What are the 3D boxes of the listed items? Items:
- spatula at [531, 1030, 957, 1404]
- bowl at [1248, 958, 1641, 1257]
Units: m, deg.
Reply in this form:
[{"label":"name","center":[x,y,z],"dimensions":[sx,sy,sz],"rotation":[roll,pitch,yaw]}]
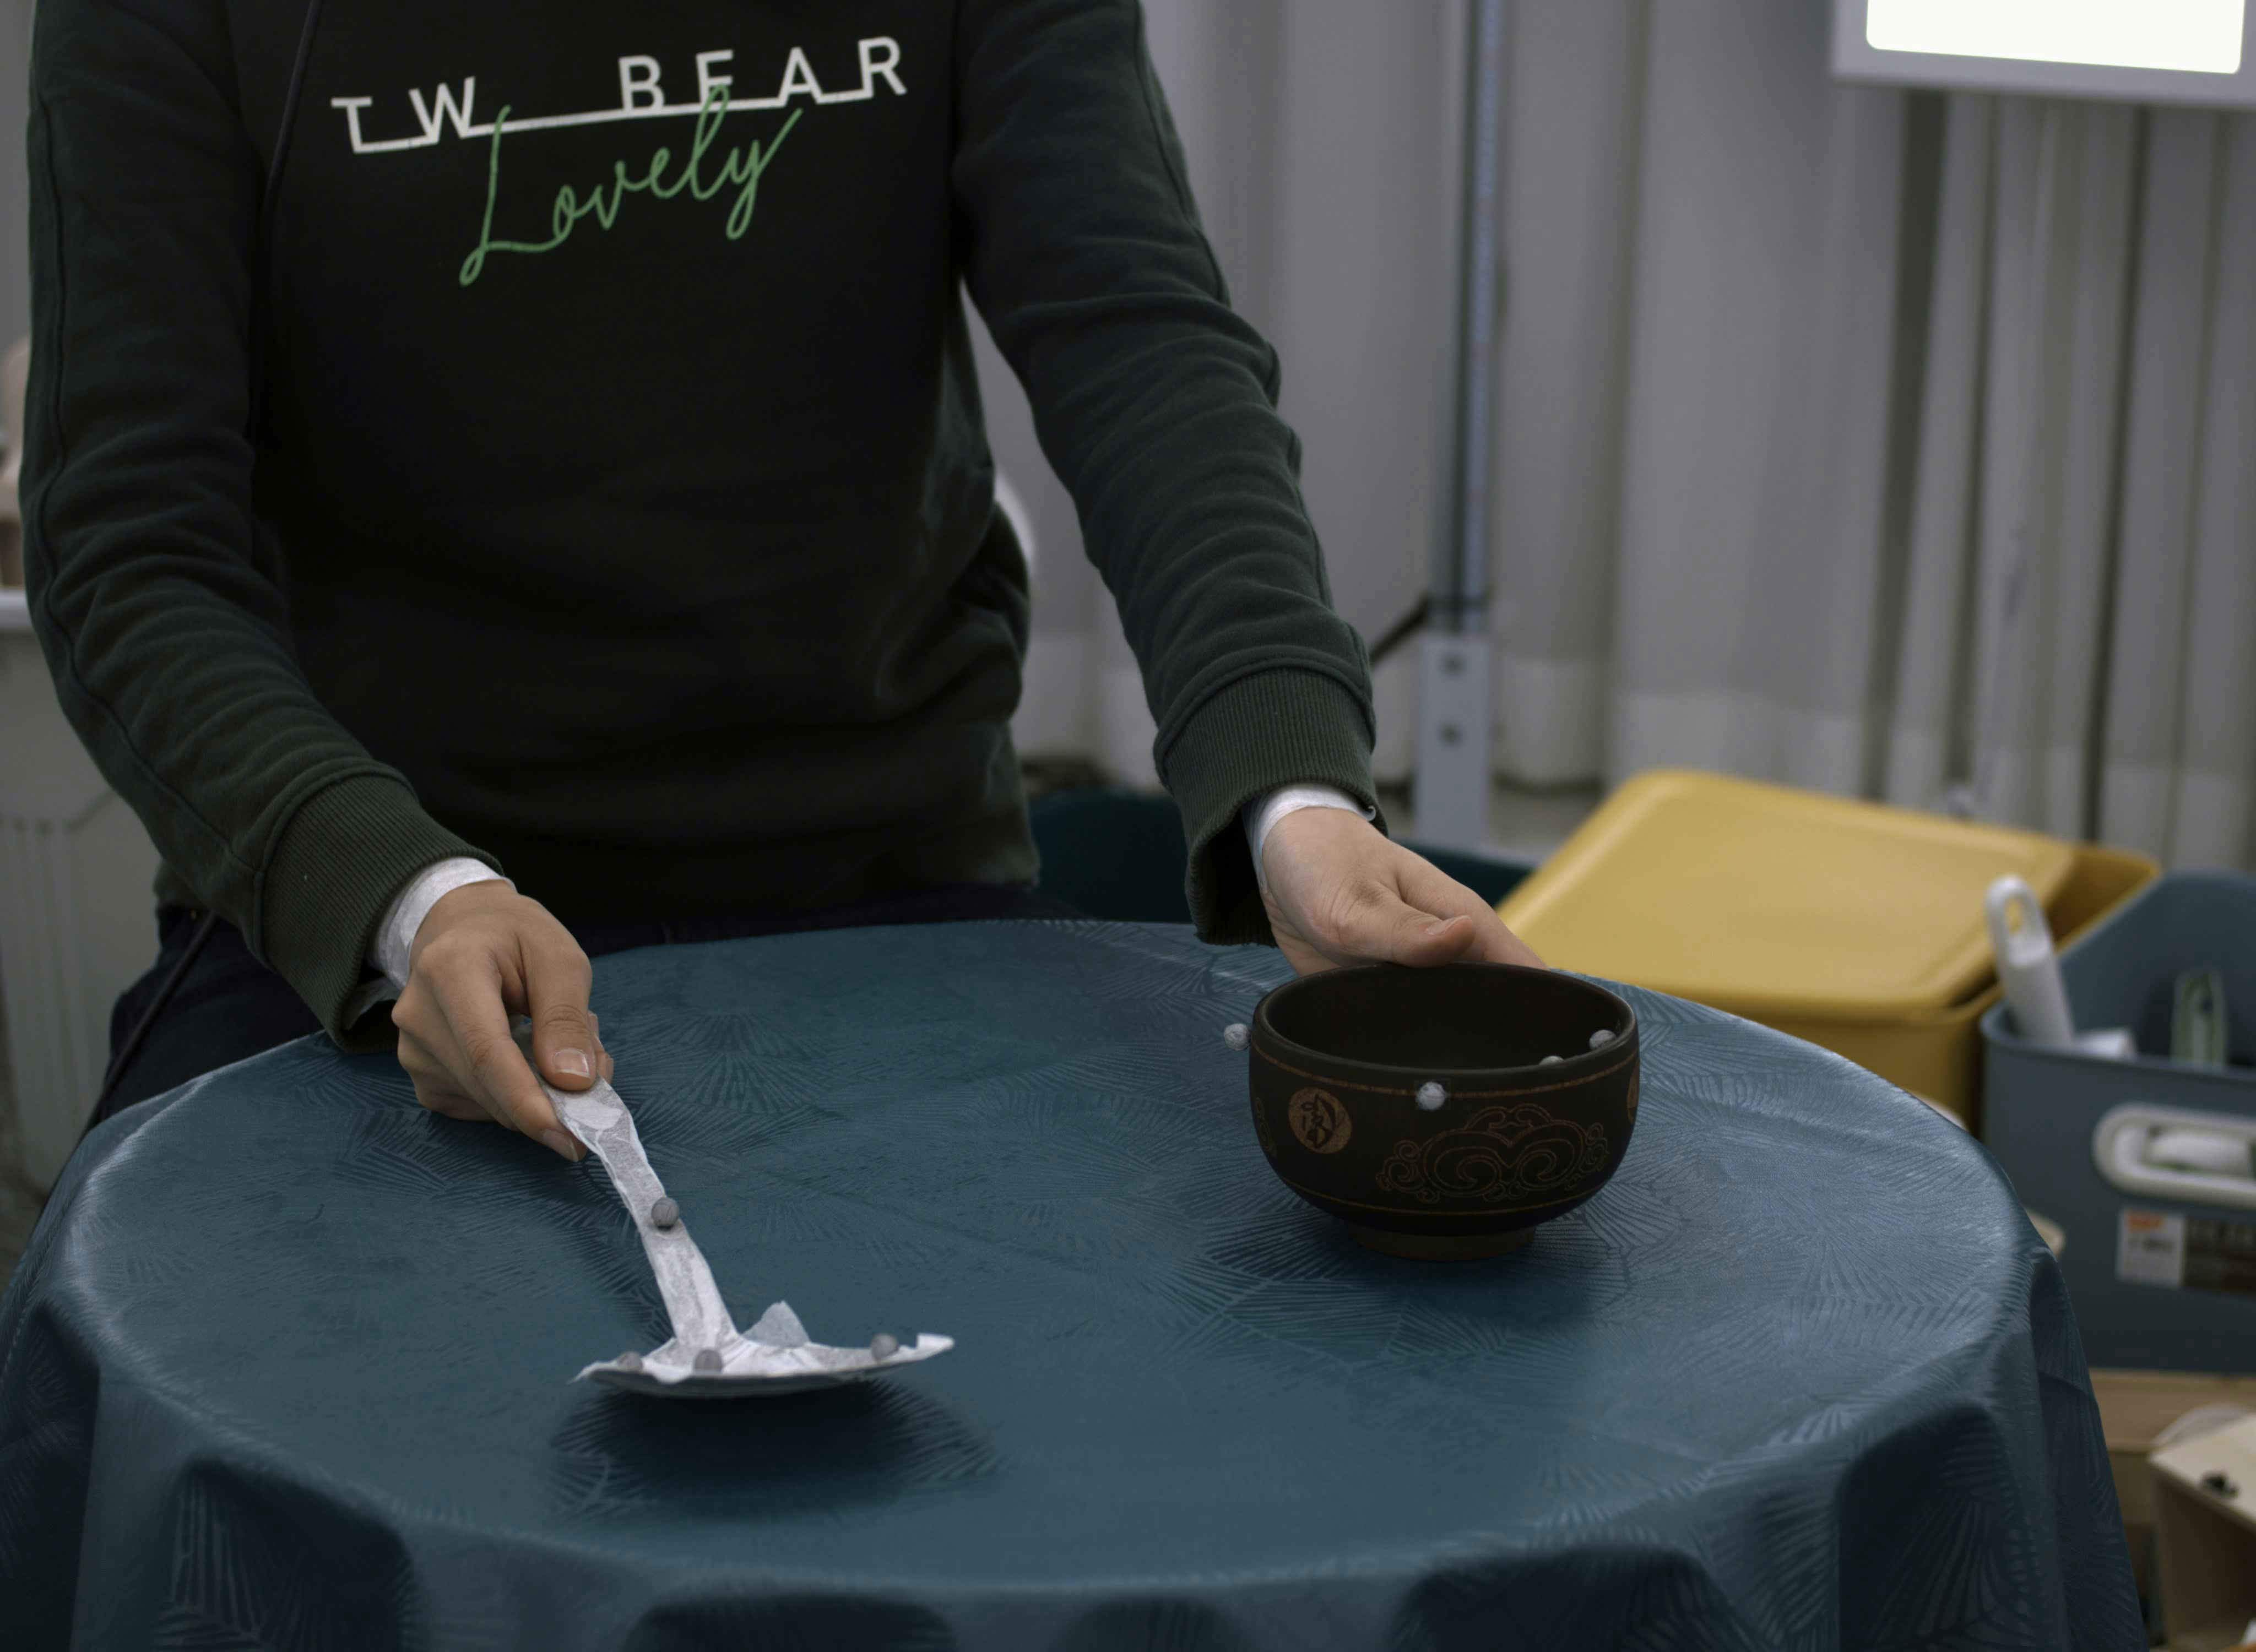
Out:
[{"label":"spatula","center":[-0.138,0.107,1.553],"dimensions":[0.099,0.045,0.361],"rotation":[-4,20,-16]},{"label":"bowl","center":[0.094,0.088,1.584],"dimensions":[0.117,0.070,0.117],"rotation":[2,15,0]}]
